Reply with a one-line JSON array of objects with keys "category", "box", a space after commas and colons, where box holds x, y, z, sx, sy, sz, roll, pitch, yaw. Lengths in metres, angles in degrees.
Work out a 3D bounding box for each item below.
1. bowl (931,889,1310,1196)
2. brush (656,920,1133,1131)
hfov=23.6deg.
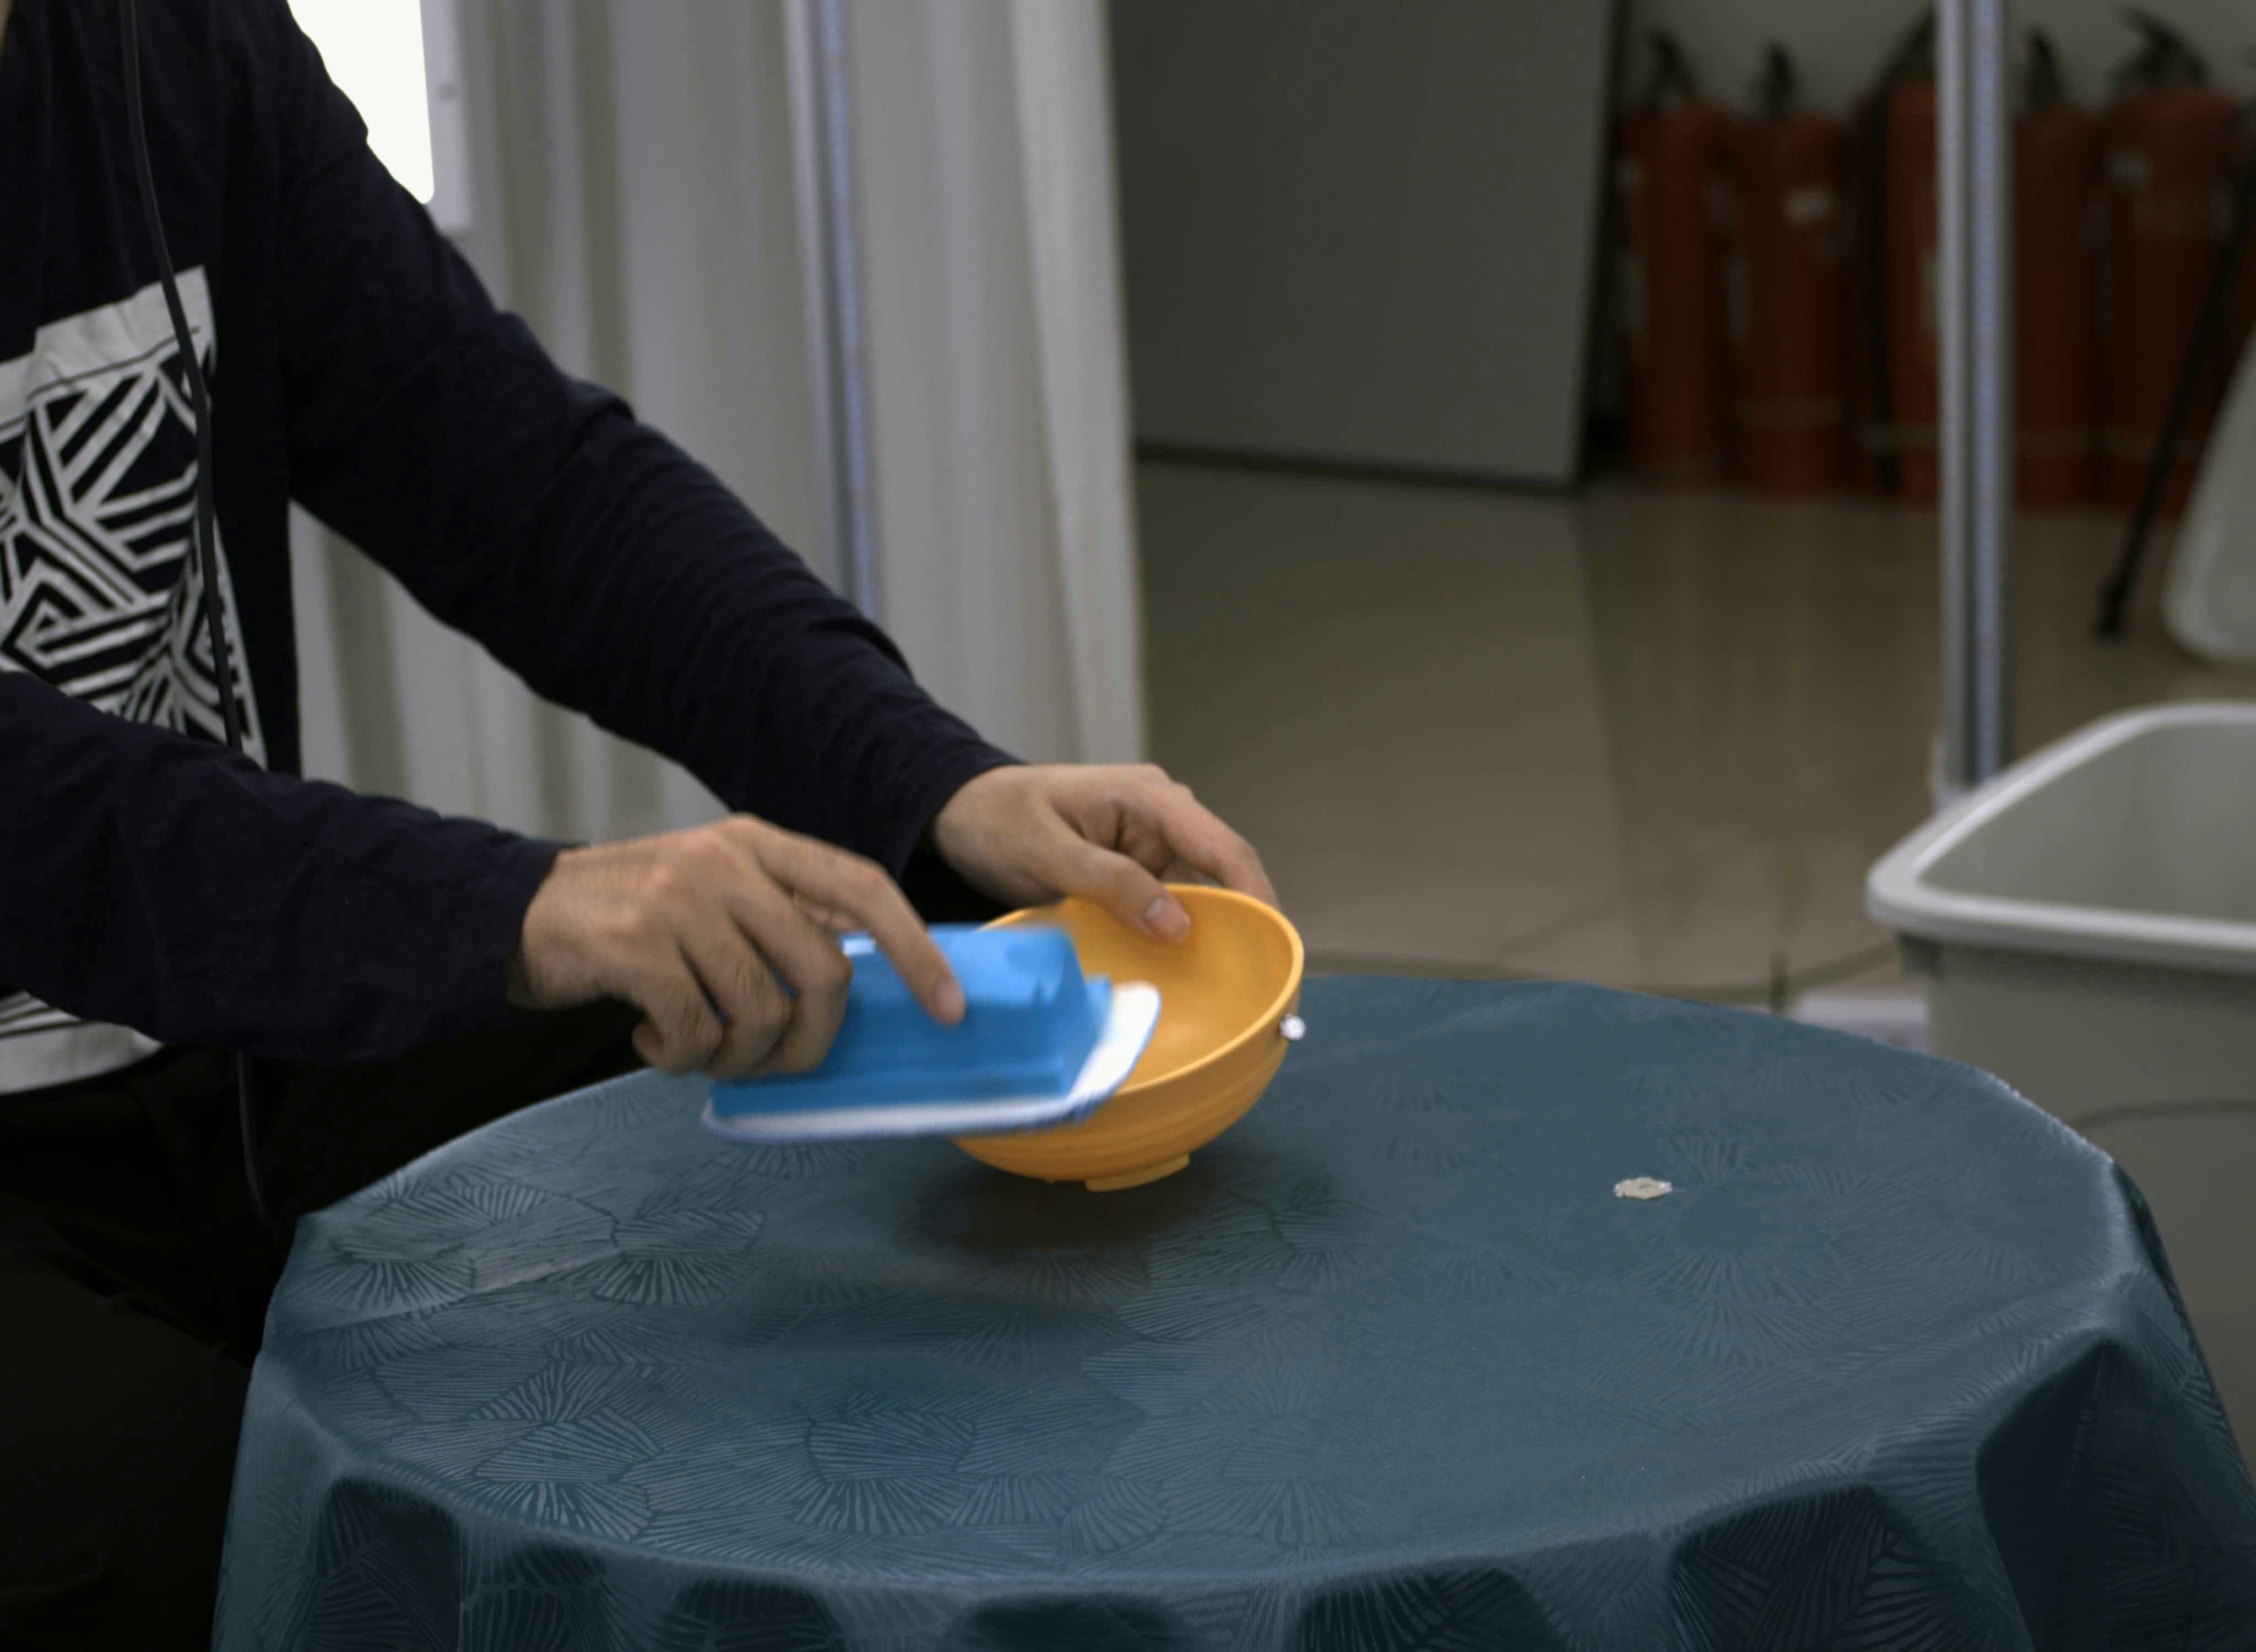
[{"category": "bowl", "box": [-0.007, 0.081, 1.787, 0.144, 0.060, 0.146, -8, 26, 3]}, {"category": "brush", "box": [-0.074, 0.060, 1.671, 0.144, 0.056, 0.083, -1, 24, 25]}]
